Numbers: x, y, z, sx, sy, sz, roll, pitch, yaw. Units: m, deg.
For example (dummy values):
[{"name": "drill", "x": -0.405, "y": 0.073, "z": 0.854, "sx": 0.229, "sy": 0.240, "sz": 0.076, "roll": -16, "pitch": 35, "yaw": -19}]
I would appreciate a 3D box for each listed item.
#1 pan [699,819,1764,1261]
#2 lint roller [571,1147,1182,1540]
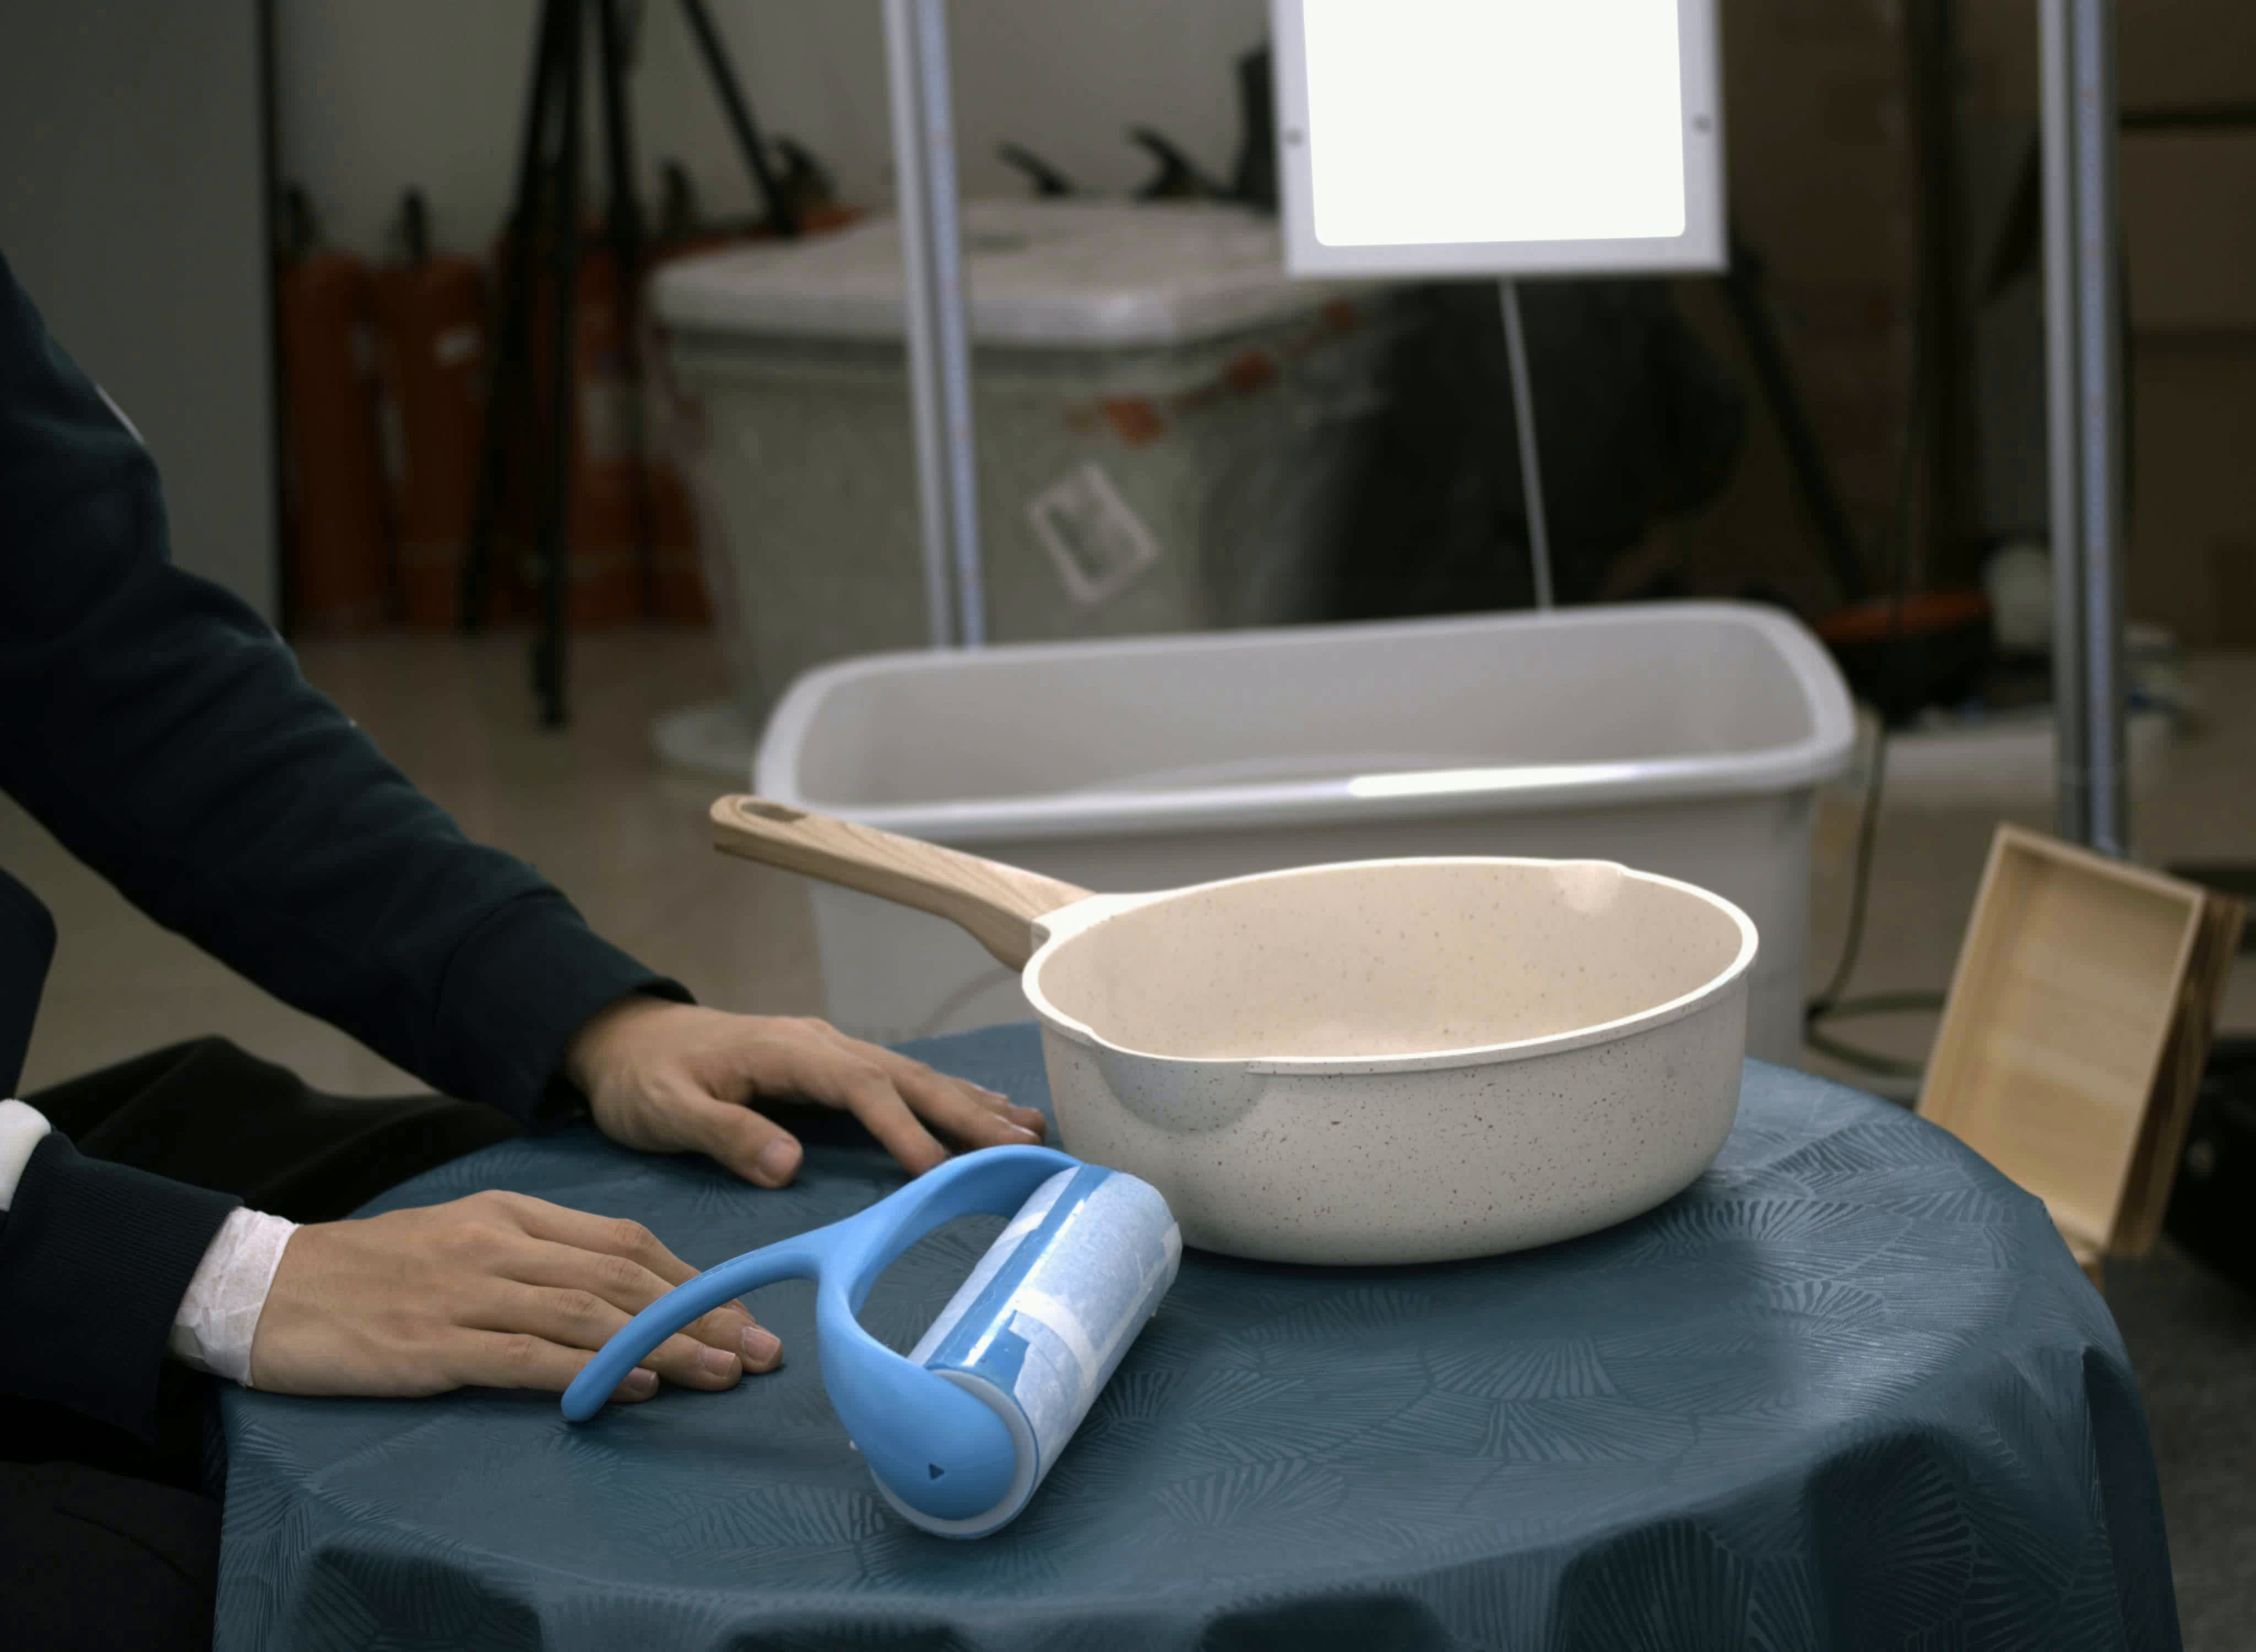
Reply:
[{"name": "pan", "x": 0.021, "y": 0.064, "z": 1.931, "sx": 0.444, "sy": 0.102, "sz": 0.257, "roll": 6, "pitch": 19, "yaw": 39}, {"name": "lint roller", "x": -0.087, "y": 0.156, "z": 1.685, "sx": 0.181, "sy": 0.068, "sz": 0.226, "roll": -1, "pitch": 16, "yaw": 12}]
